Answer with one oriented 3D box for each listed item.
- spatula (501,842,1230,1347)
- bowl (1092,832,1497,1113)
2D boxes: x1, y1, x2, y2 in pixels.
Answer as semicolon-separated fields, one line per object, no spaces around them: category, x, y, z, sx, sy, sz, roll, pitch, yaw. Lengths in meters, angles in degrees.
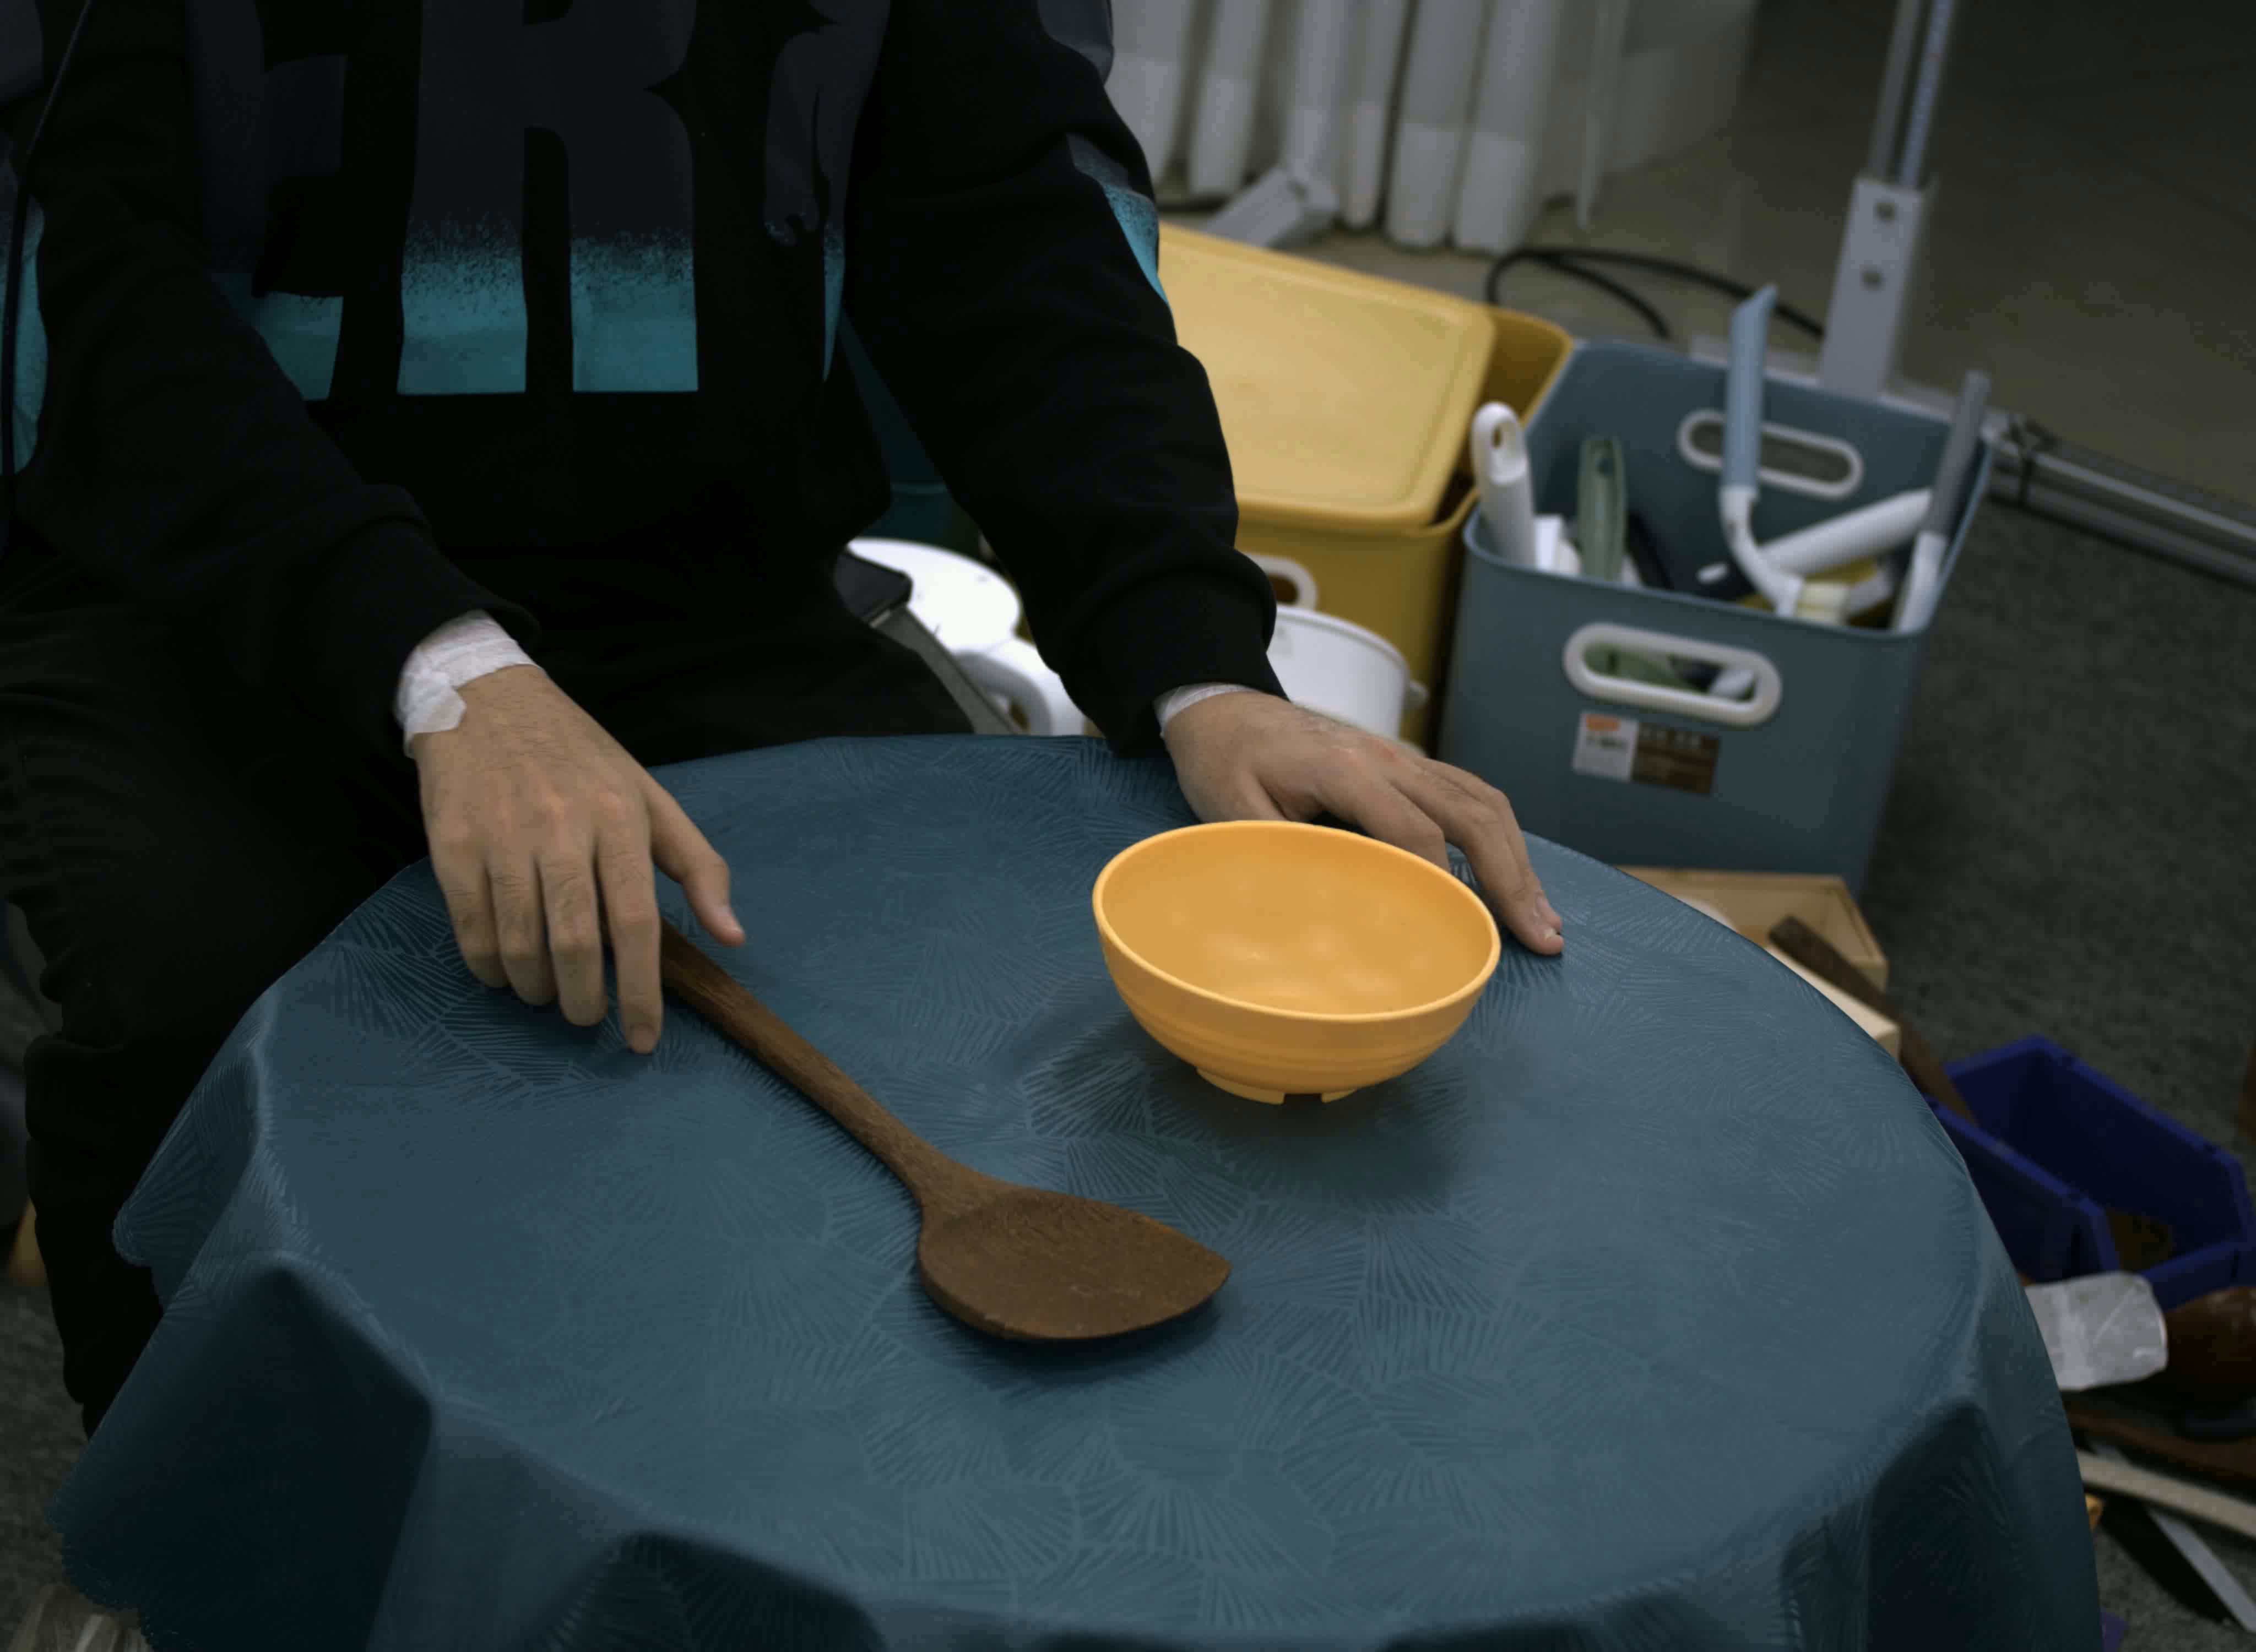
spatula;-0.111;0.085;1.837;0.095;0.016;0.389;-14;33;-35
bowl;0.055;0.060;1.879;0.145;0.060;0.146;7;24;-3
